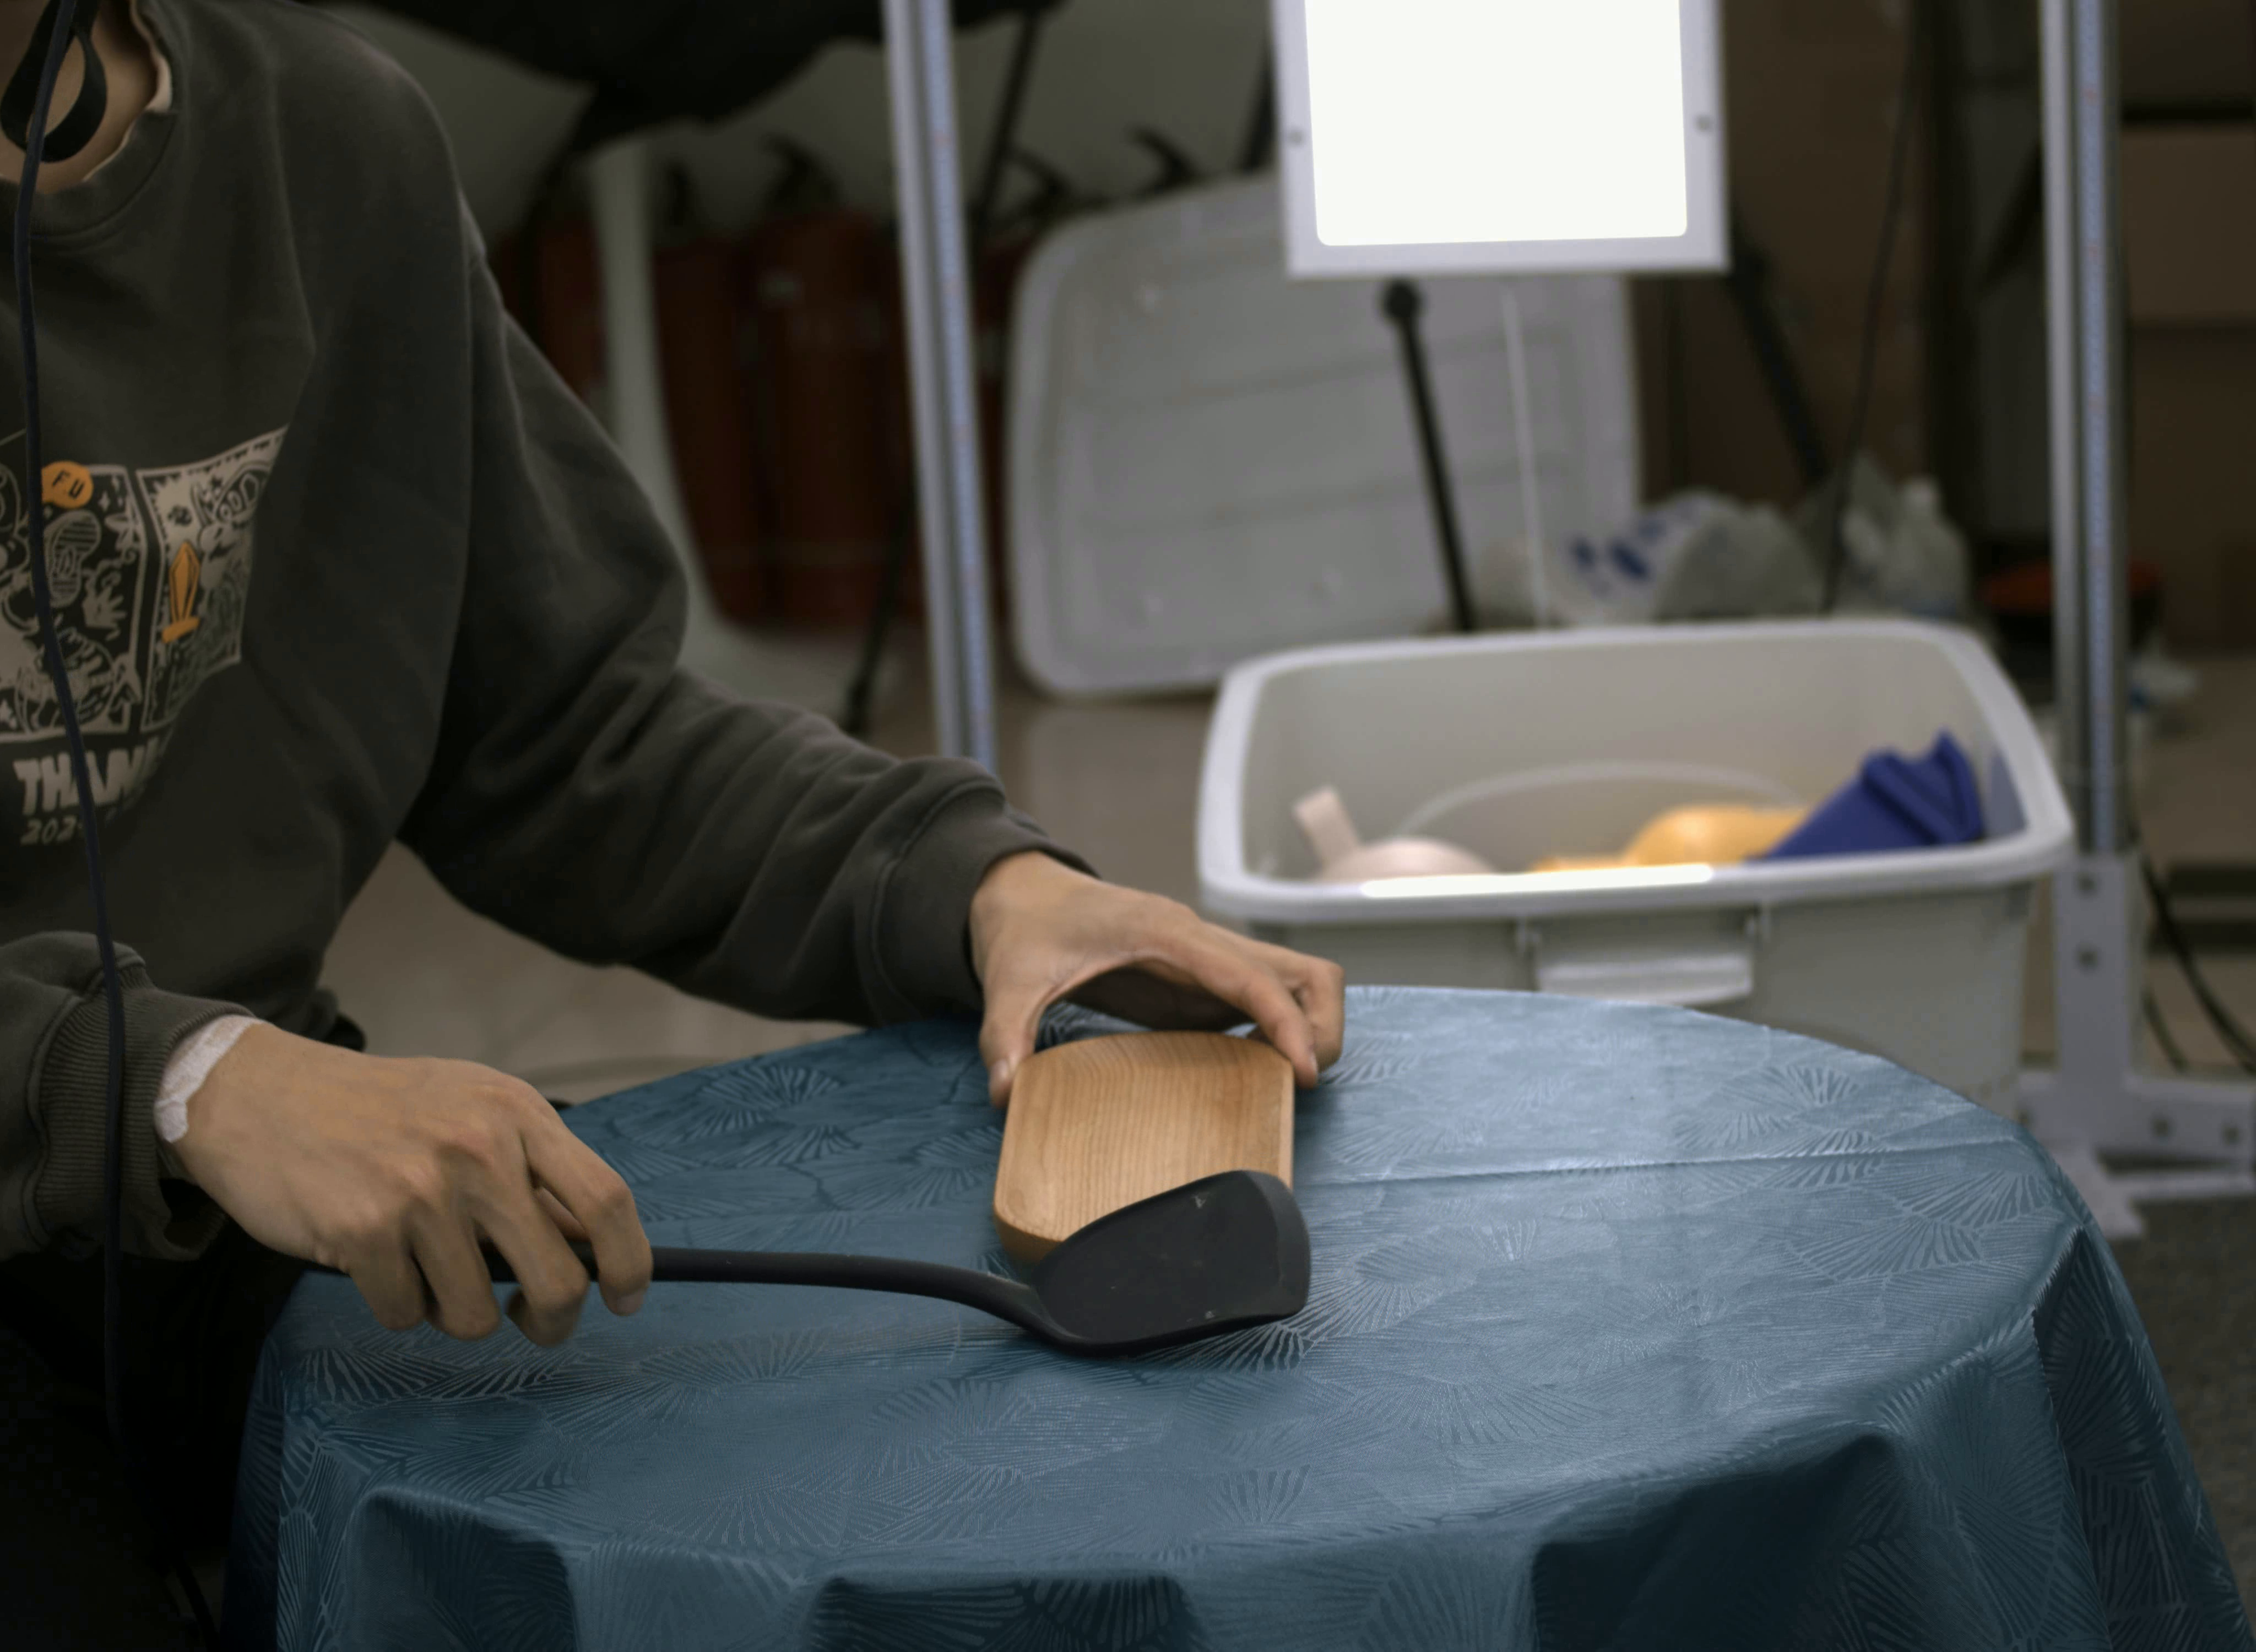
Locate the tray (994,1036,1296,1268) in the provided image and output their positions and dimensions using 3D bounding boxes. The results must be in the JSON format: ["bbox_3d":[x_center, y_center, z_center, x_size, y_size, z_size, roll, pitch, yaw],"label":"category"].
[{"bbox_3d":[0.008,0.113,1.905,0.102,0.020,0.230,-4,16,3],"label":"tray"}]

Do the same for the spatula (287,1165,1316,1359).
[{"bbox_3d":[-0.104,0.136,1.757,0.324,0.040,0.099,4,23,-3],"label":"spatula"}]
